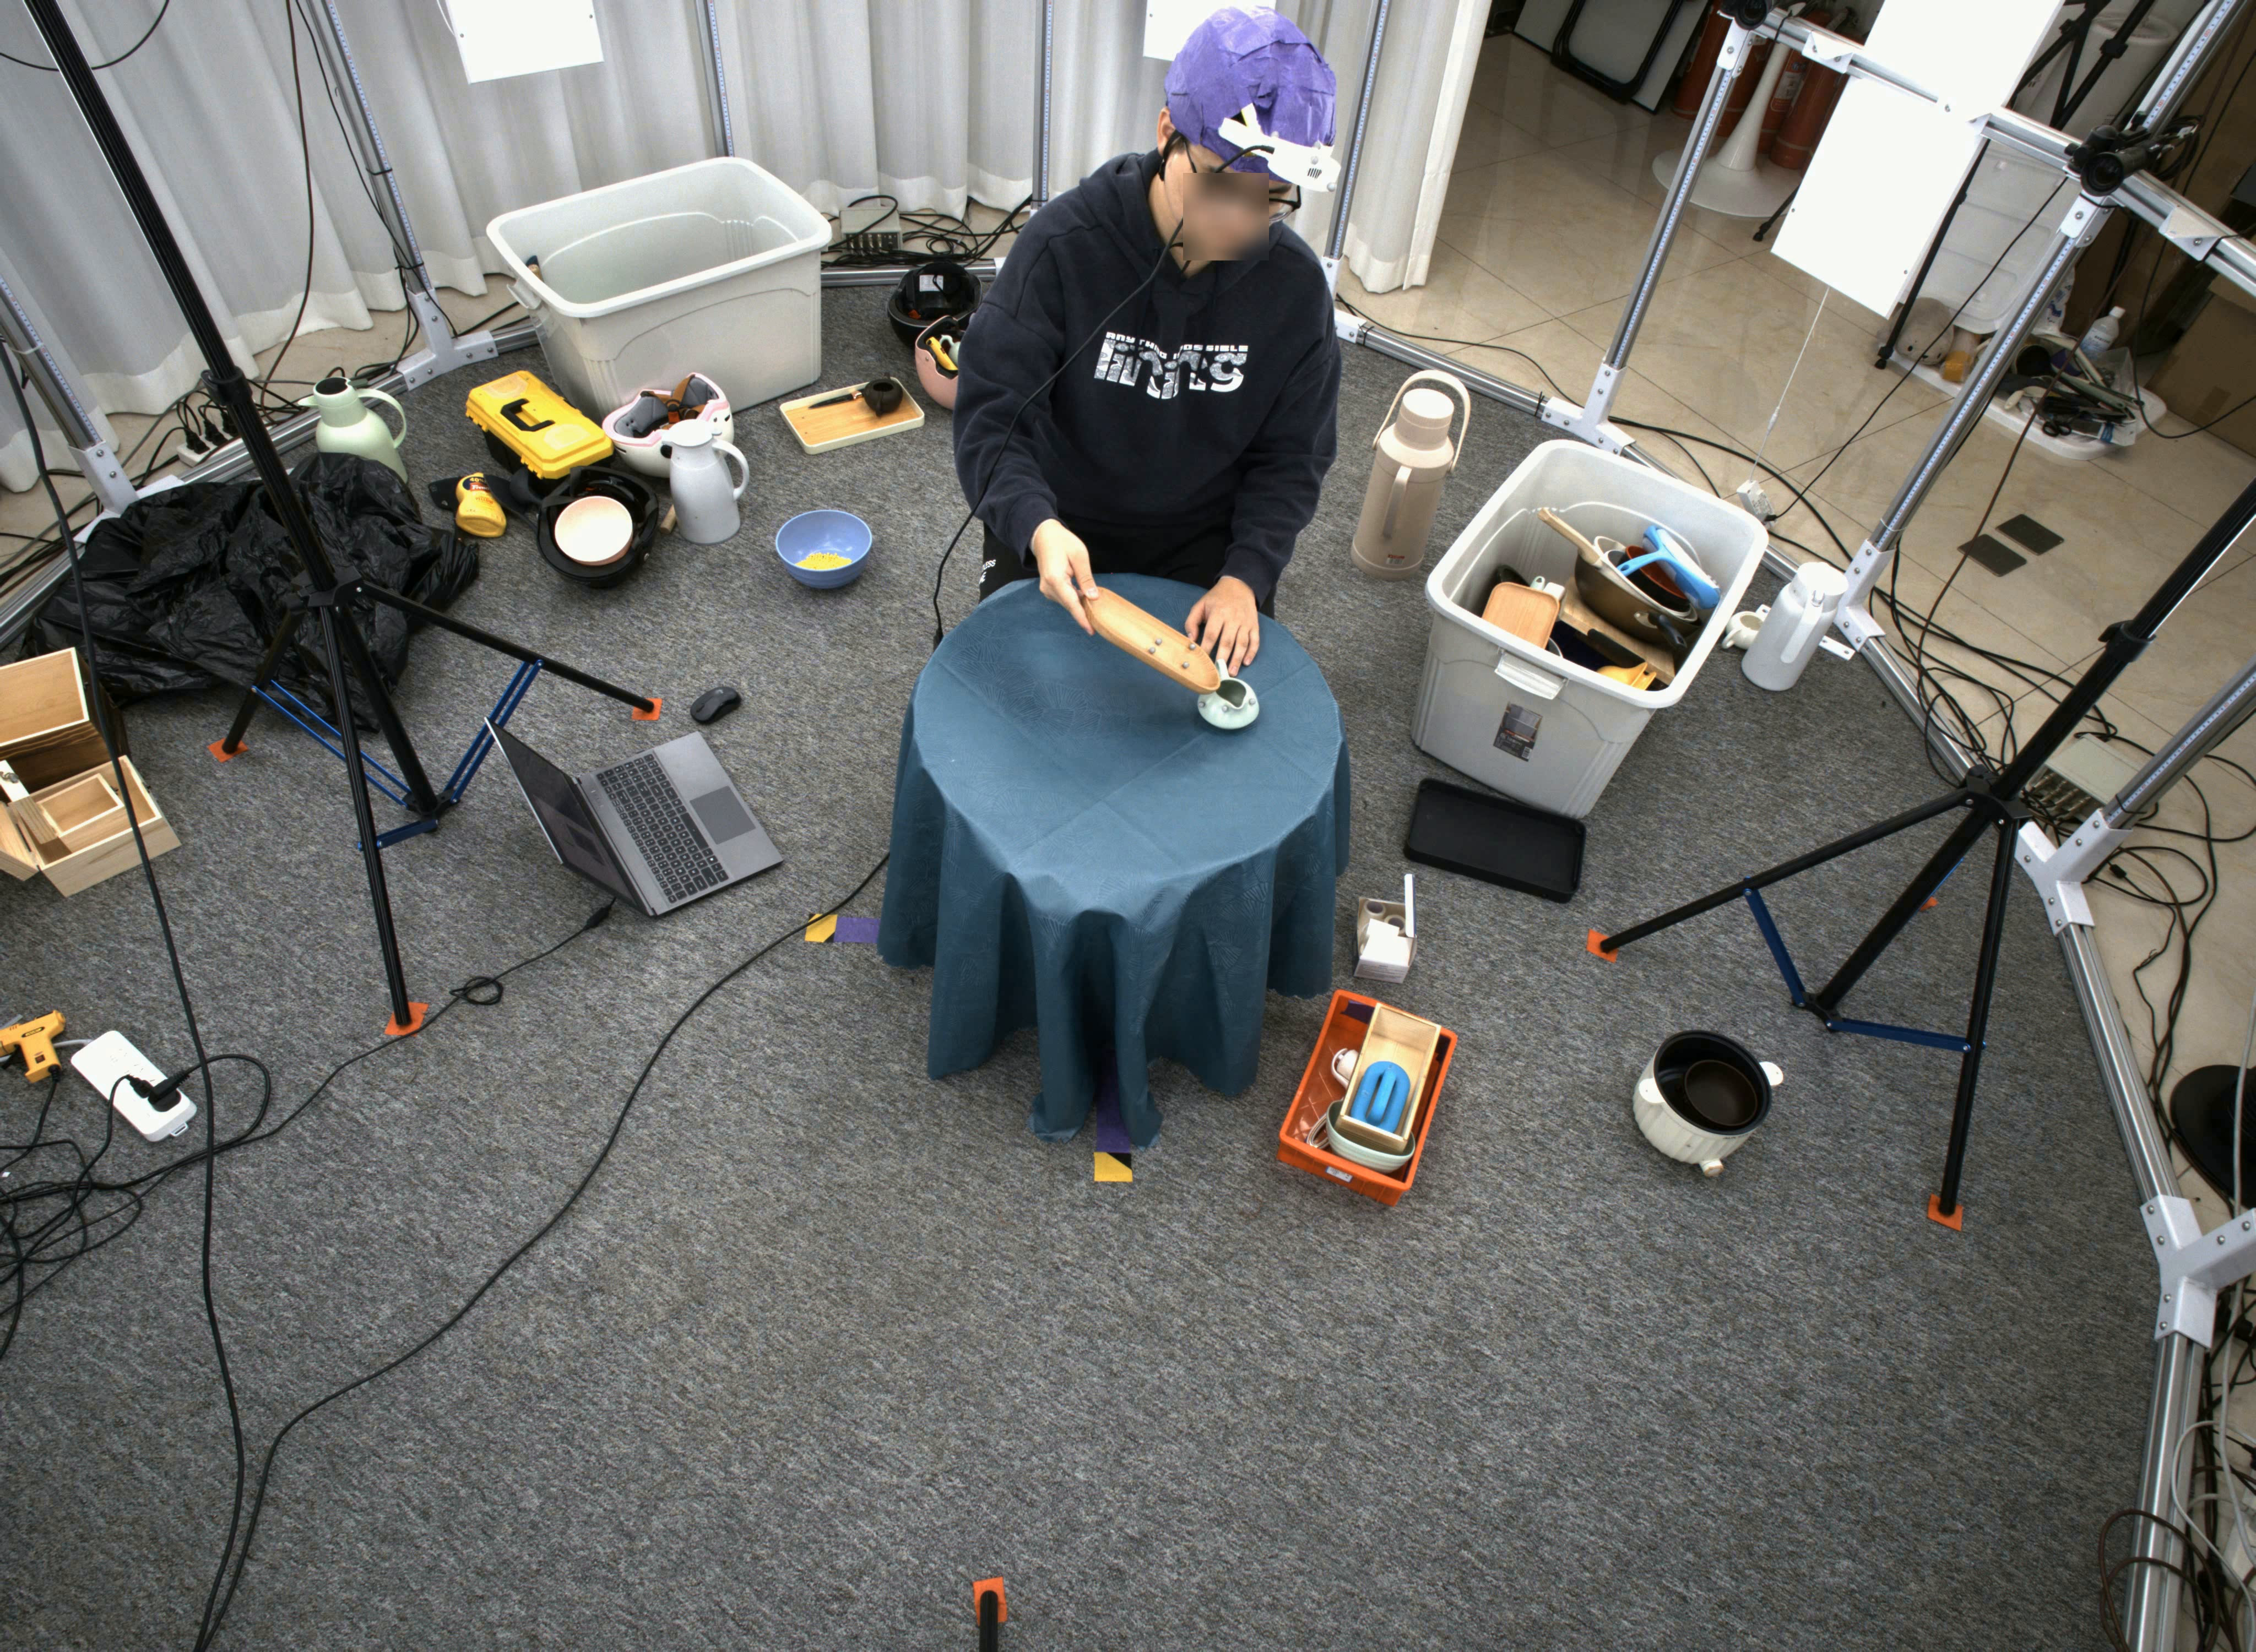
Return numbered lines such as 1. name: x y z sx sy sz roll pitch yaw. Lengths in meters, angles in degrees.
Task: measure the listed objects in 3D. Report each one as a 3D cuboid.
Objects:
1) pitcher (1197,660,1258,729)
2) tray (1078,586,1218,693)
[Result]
1. pitcher: 0.138 -0.182 1.799 0.086 0.059 0.111 -8 48 -13
2. tray: 0.029 -0.246 1.707 0.228 0.020 0.104 25 35 -27
